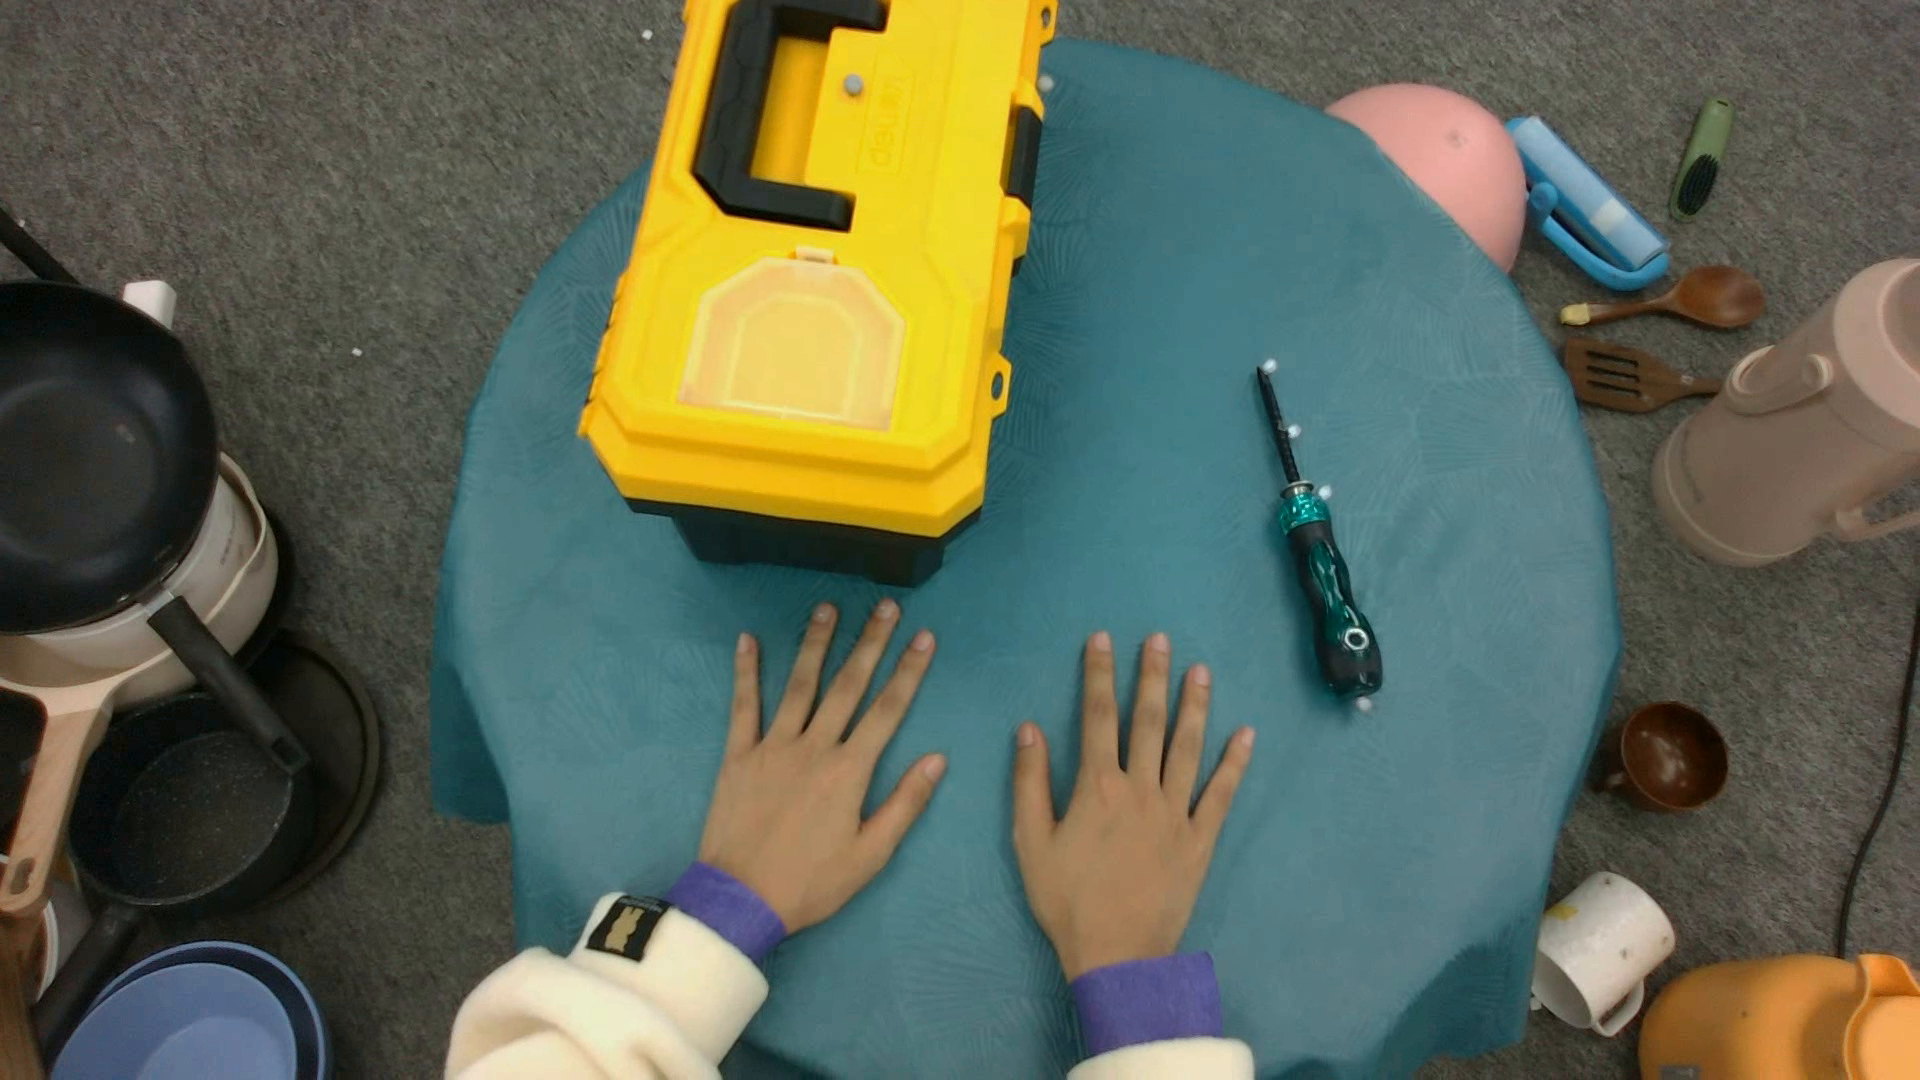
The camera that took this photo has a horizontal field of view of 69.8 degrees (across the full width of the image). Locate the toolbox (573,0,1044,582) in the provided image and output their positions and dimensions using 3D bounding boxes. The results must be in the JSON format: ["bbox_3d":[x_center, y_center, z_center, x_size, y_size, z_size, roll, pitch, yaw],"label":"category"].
[{"bbox_3d":[-0.060,-0.160,0.673,0.181,0.172,0.352,8,68,0],"label":"toolbox"}]

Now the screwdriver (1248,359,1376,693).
[{"bbox_3d":[0.174,-0.013,0.709,0.034,0.033,0.190,-8,64,-6],"label":"screwdriver"}]
